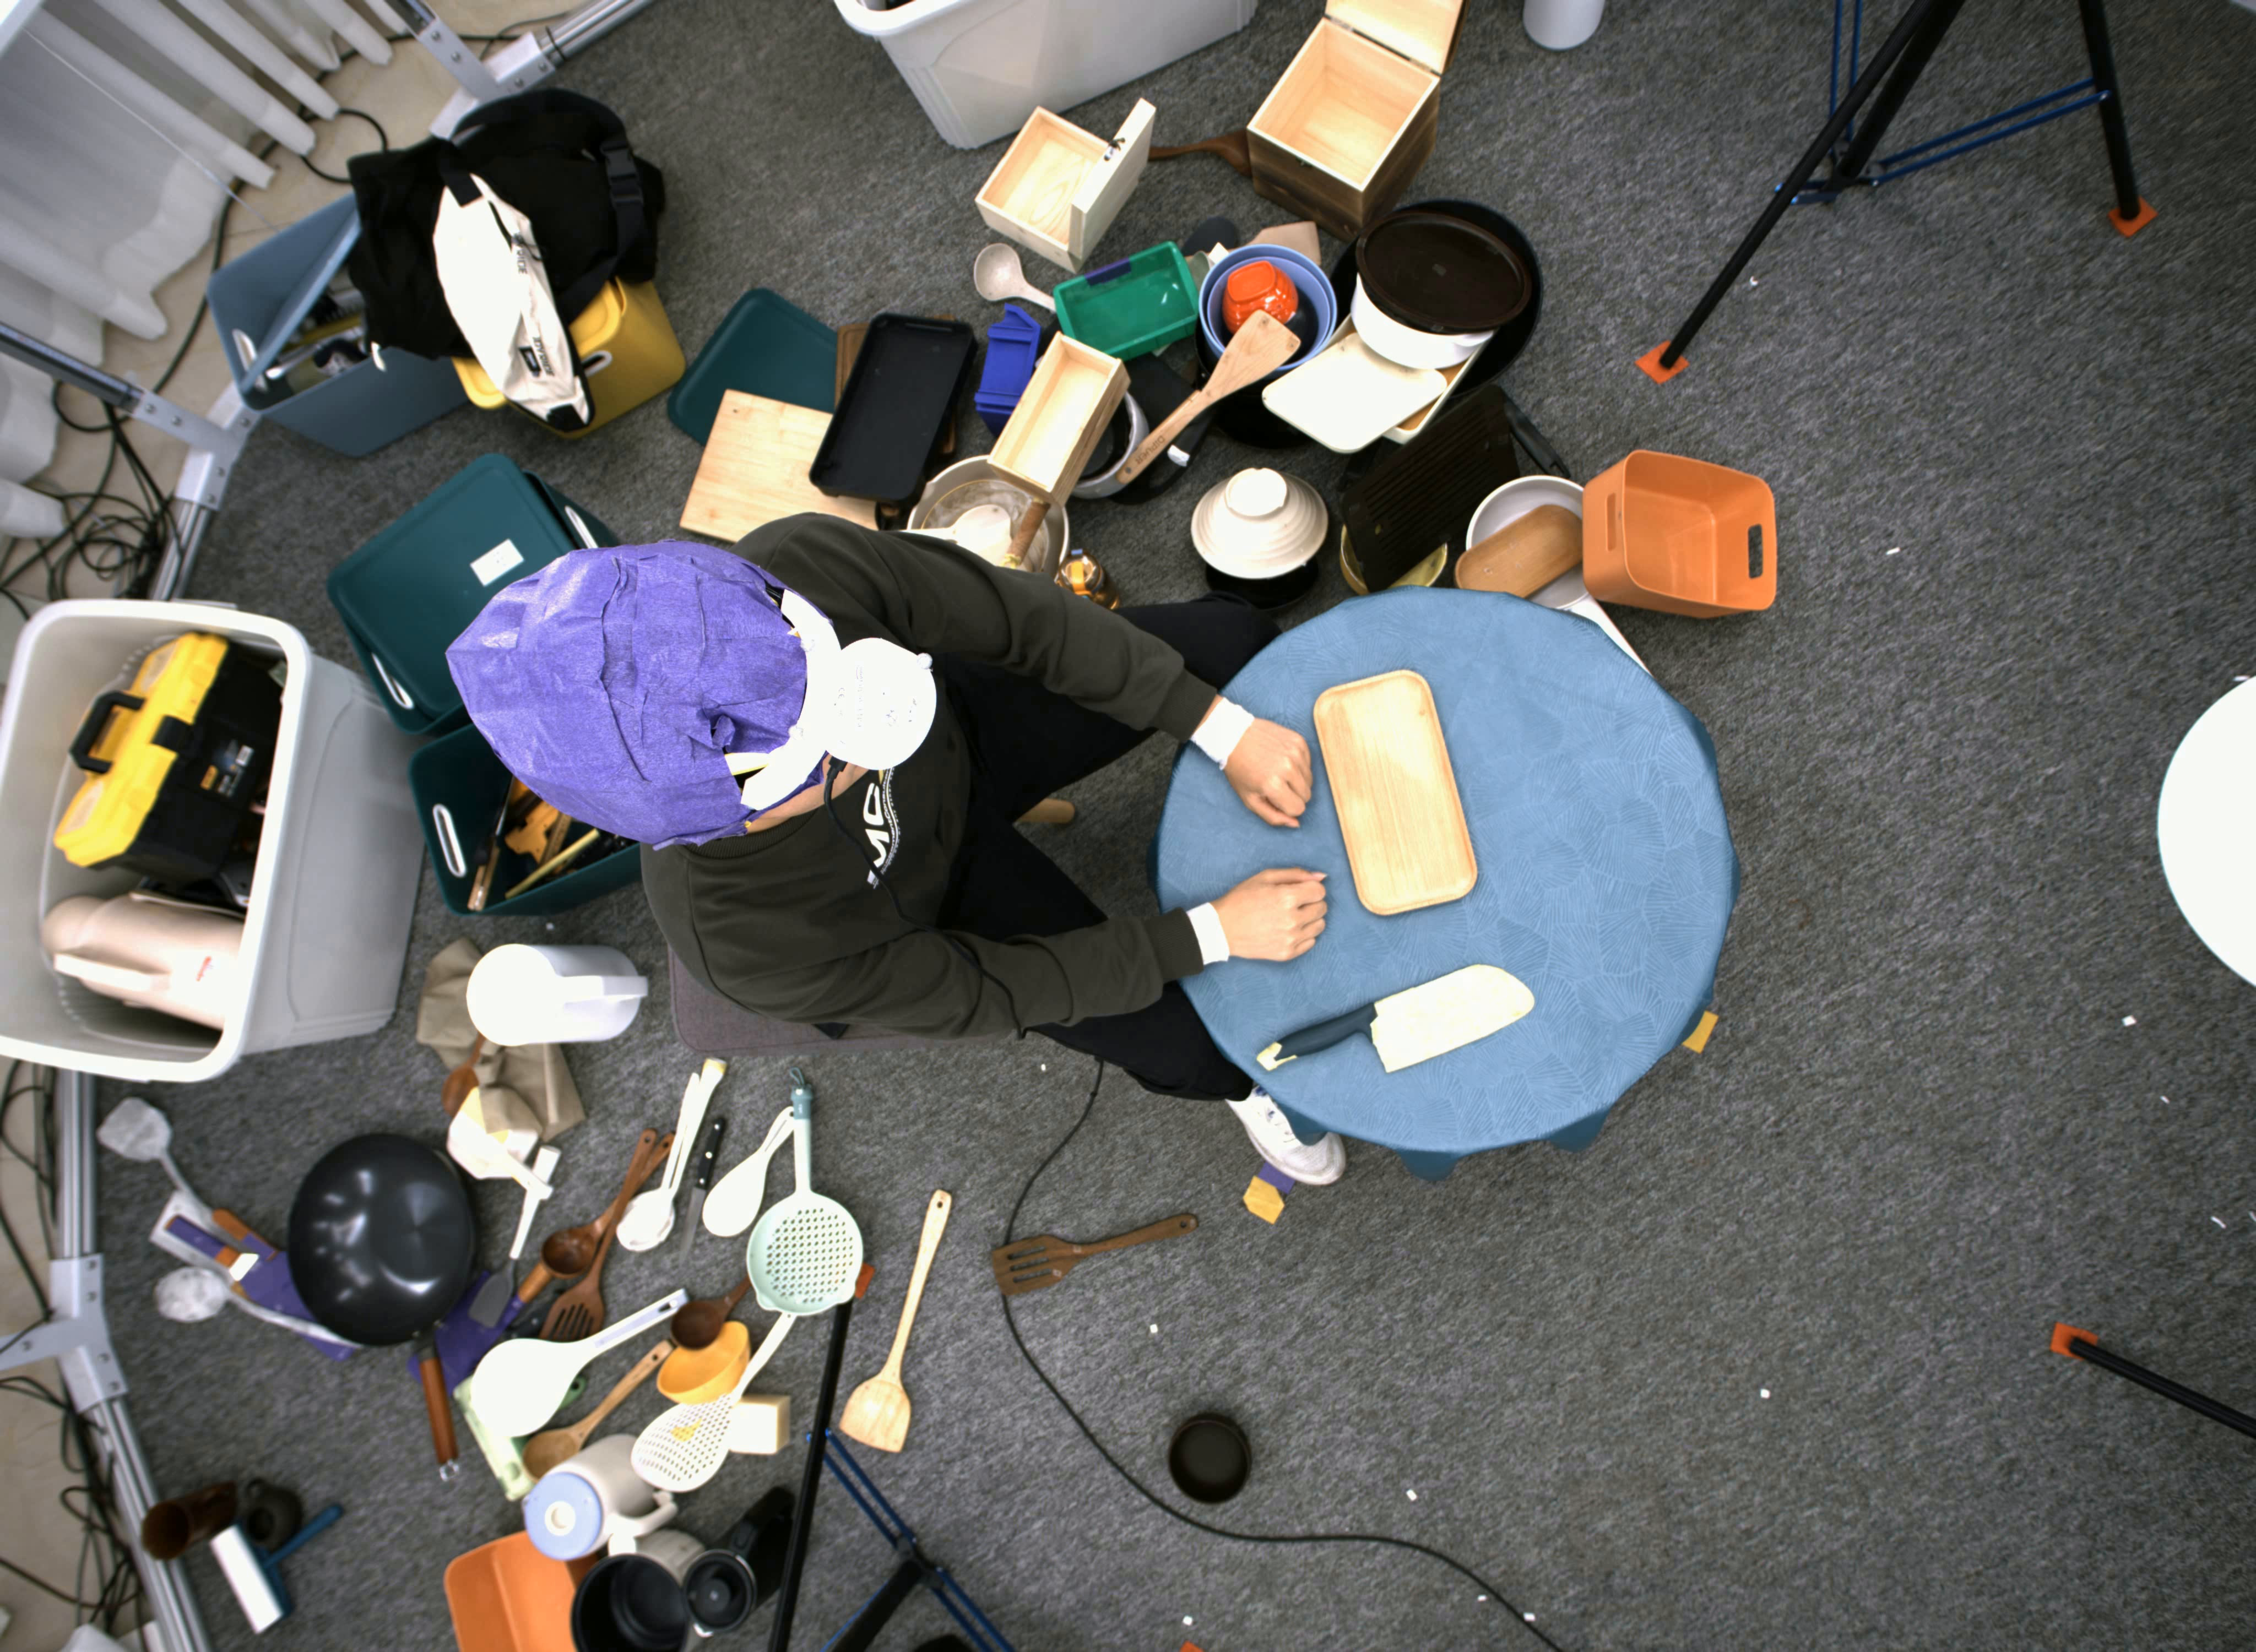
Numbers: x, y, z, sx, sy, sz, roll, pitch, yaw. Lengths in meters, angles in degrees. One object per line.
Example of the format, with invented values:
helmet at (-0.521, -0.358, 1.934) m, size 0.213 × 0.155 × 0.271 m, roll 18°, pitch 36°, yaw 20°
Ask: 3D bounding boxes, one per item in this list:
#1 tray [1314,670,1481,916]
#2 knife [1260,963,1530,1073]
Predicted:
tray at (0.284, -0.037, 1.455) m, size 0.131 × 0.023 × 0.249 m, roll -14°, pitch 85°, yaw 12°
knife at (0.280, 0.211, 1.443) m, size 0.291 × 0.027 × 0.080 m, roll -19°, pitch 82°, yaw 8°
